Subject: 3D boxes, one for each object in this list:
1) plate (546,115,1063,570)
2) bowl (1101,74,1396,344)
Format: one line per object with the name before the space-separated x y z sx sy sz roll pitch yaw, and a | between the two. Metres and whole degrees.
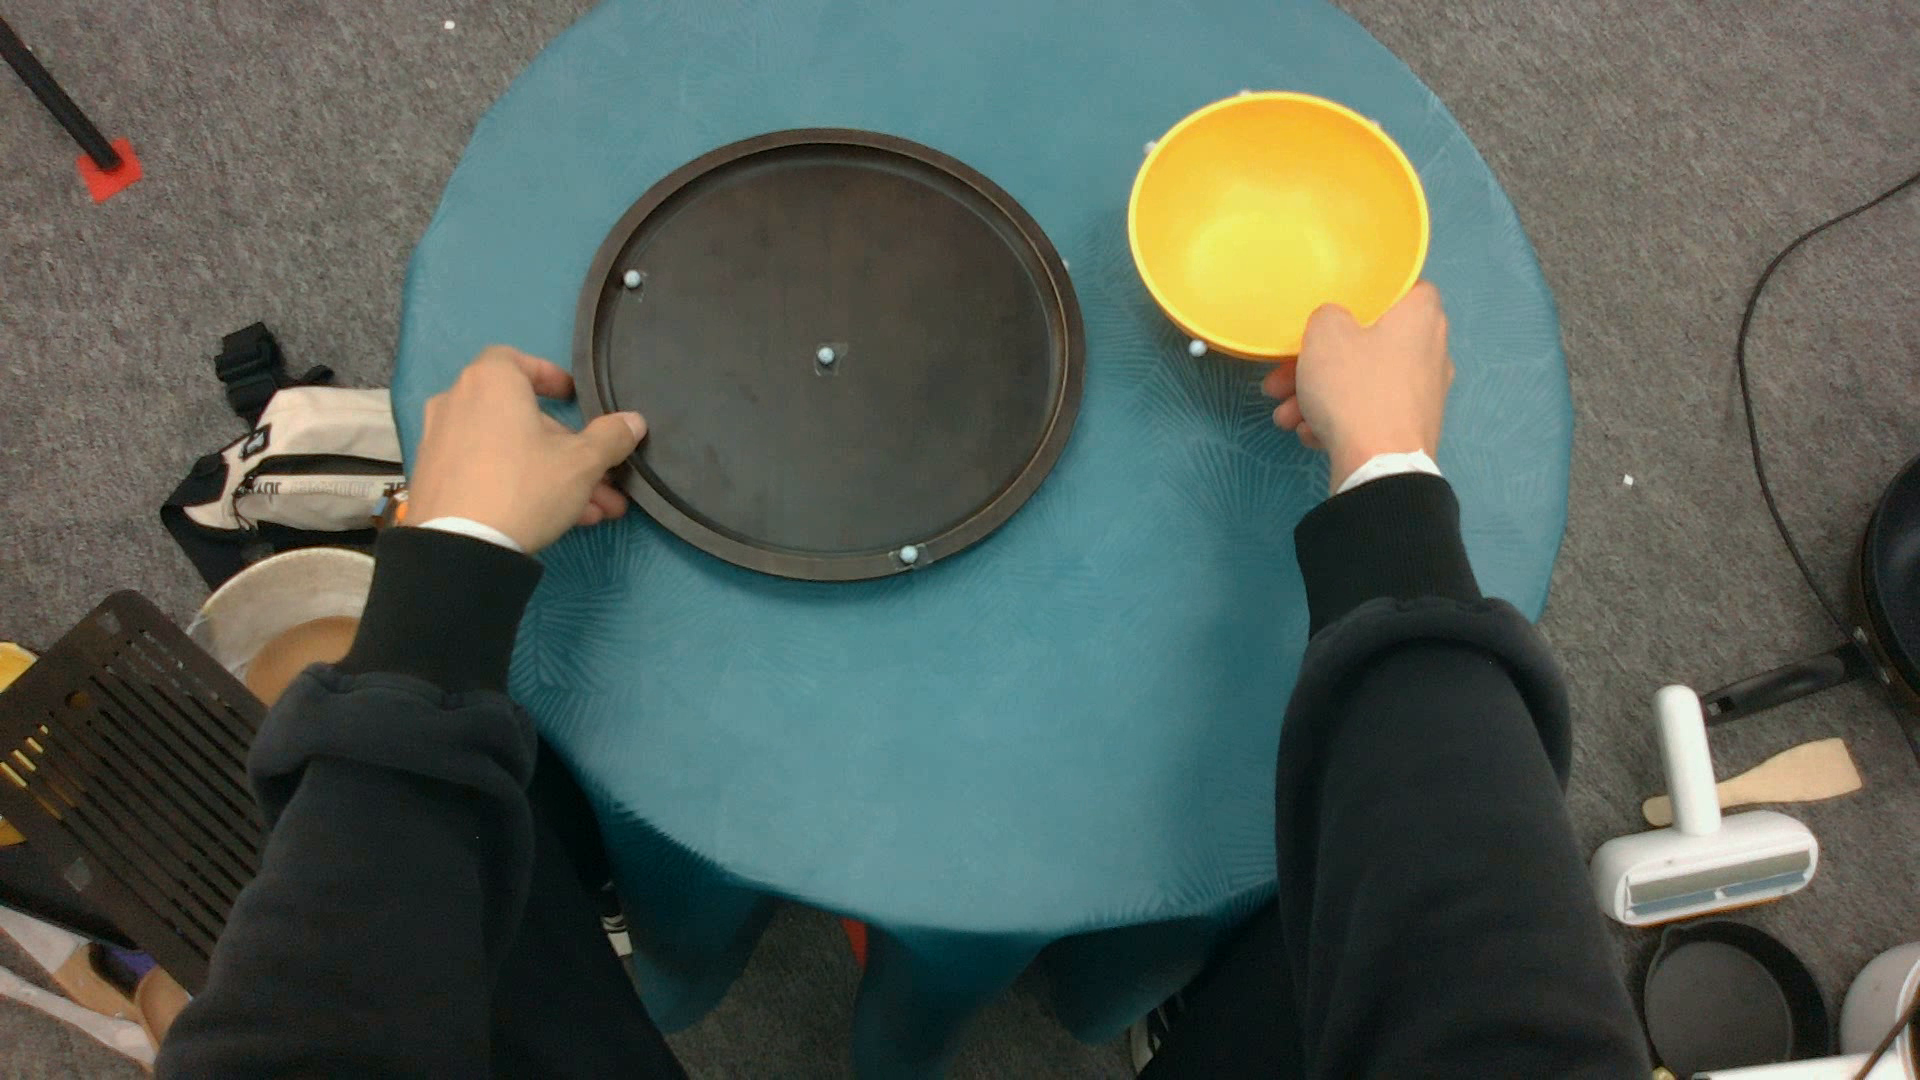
plate | -0.075 -0.103 0.684 0.255 0.029 0.255 2 70 -7
bowl | 0.145 -0.159 0.705 0.145 0.060 0.145 -1 75 5
